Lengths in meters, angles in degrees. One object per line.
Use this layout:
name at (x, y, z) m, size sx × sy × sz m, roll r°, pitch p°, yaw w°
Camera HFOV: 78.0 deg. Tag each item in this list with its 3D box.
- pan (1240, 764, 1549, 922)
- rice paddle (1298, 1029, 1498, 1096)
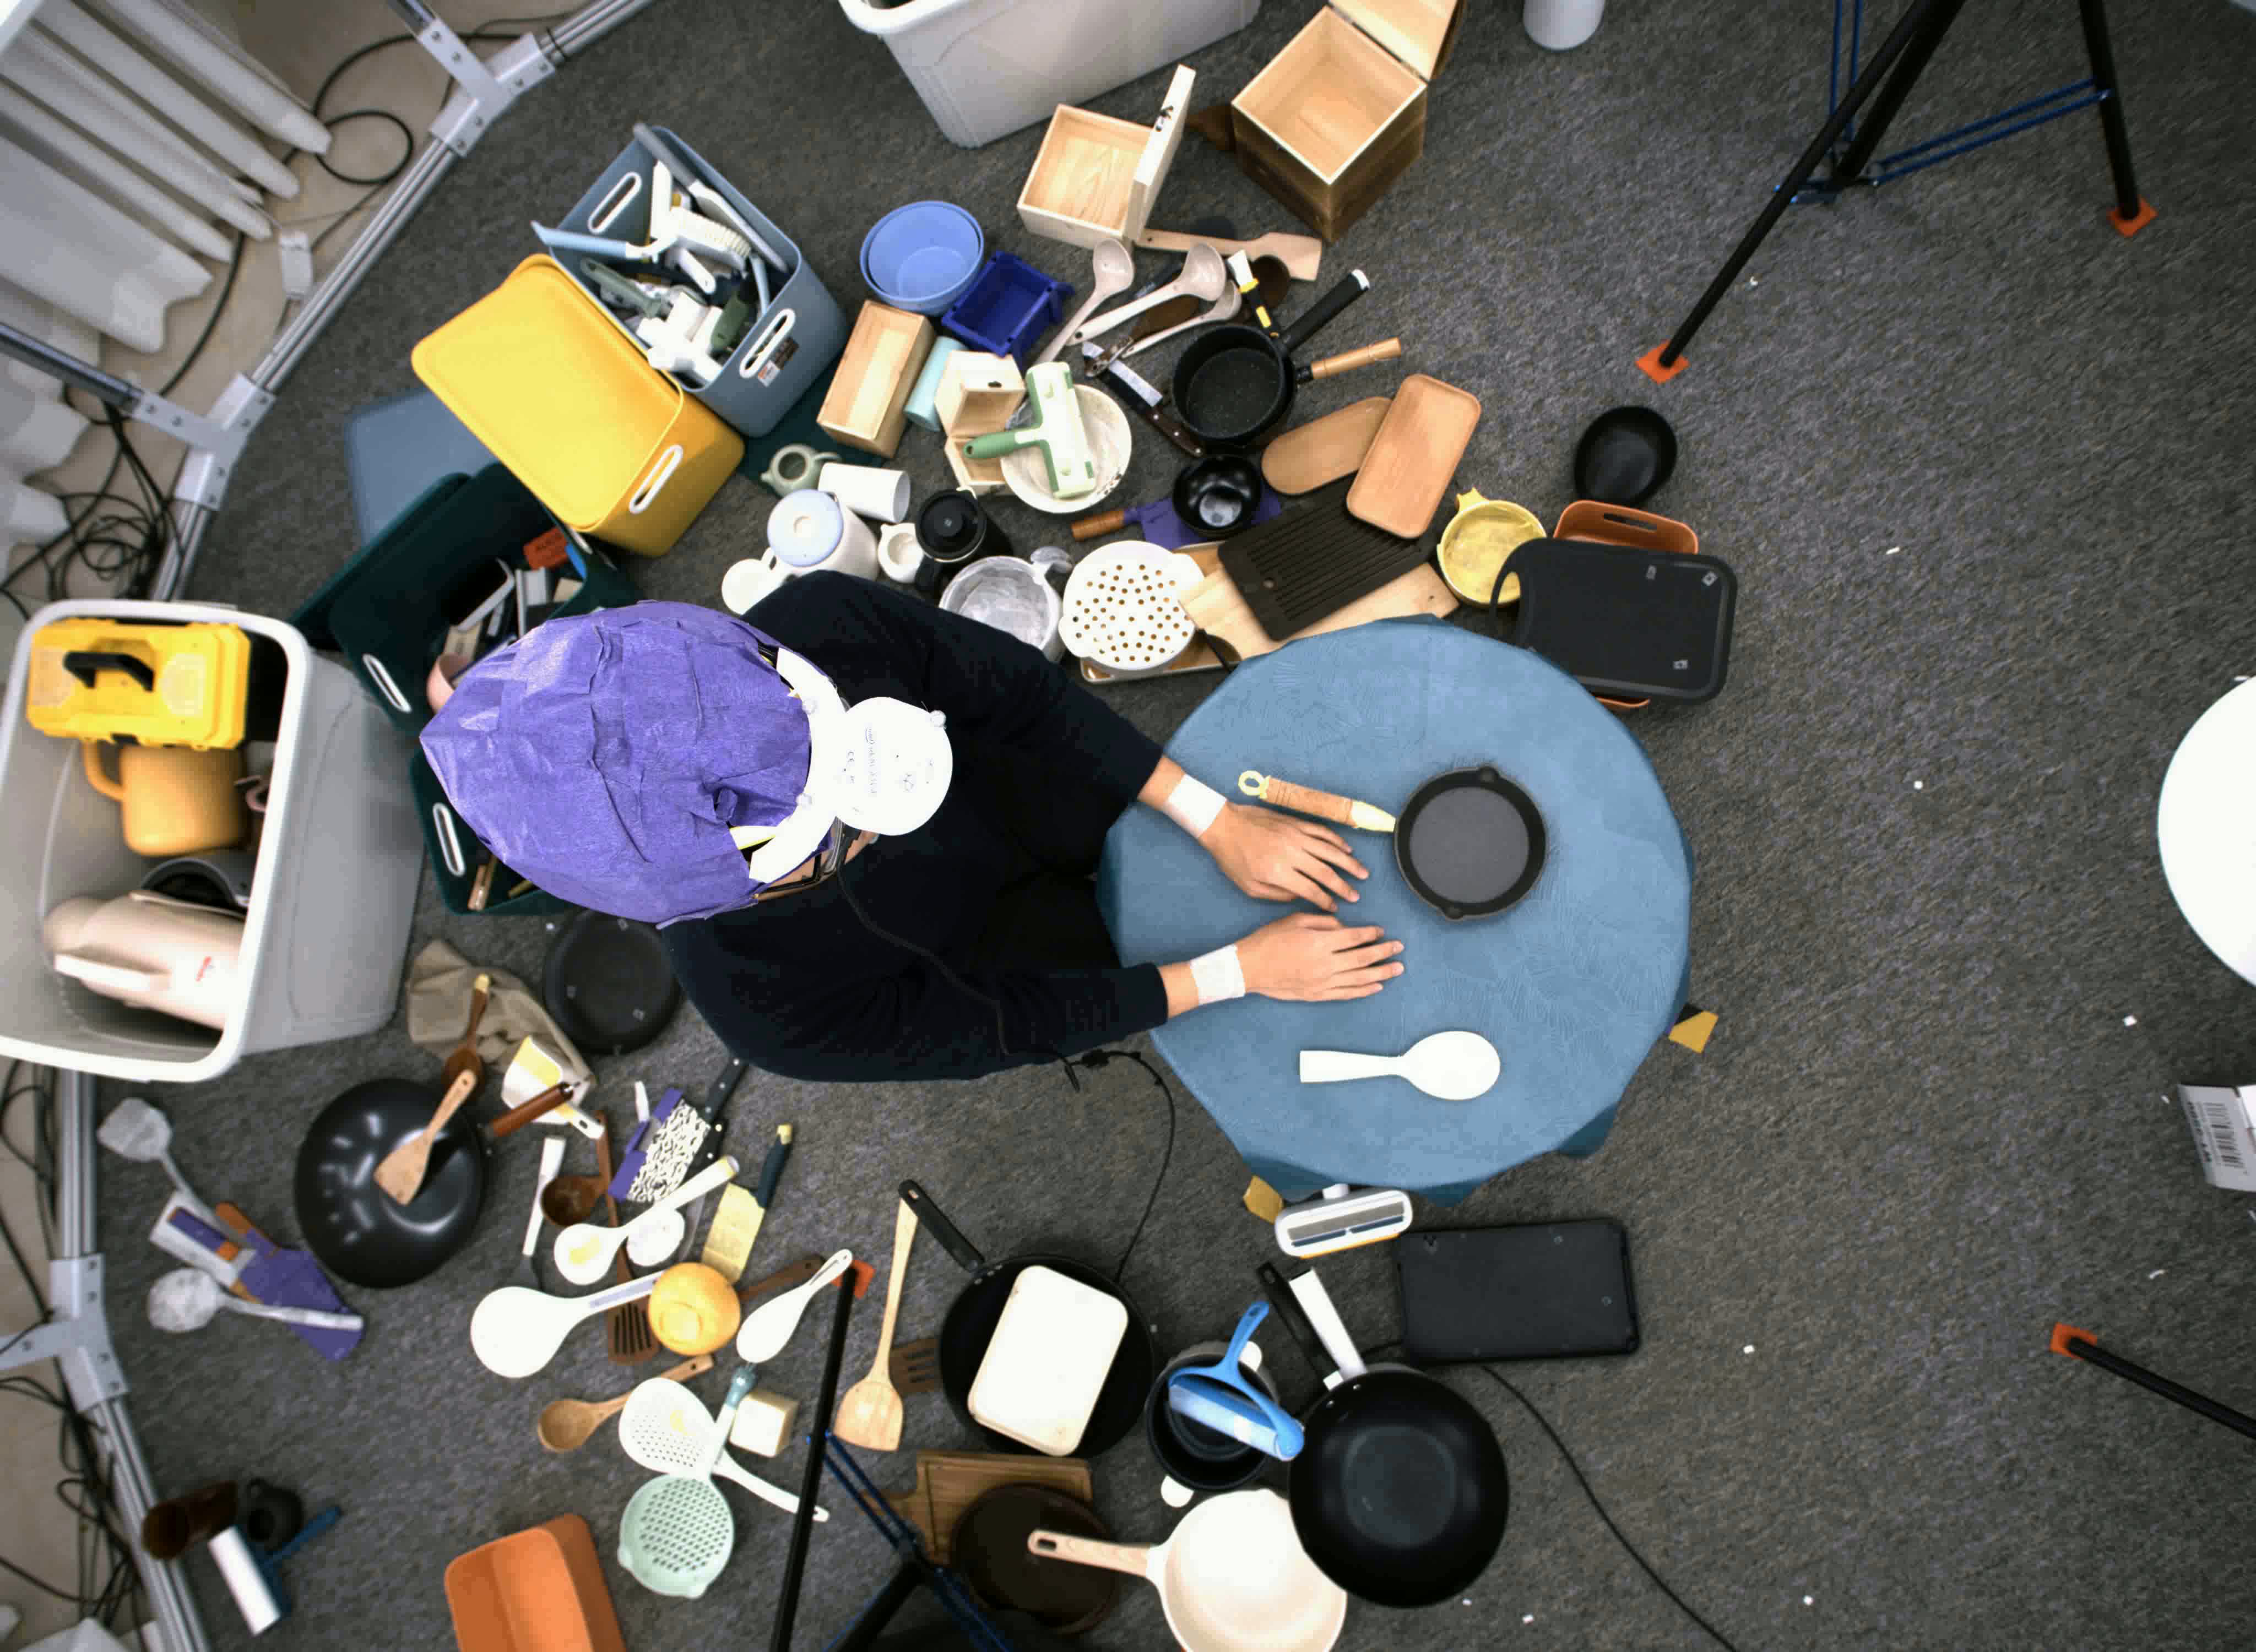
pan at (0.274, -0.007, 1.438) m, size 0.324 × 0.049 × 0.169 m, roll 17°, pitch 90°, yaw 10°
rice paddle at (0.279, 0.245, 1.434) m, size 0.206 × 0.029 × 0.068 m, roll -3°, pitch 88°, yaw 11°
